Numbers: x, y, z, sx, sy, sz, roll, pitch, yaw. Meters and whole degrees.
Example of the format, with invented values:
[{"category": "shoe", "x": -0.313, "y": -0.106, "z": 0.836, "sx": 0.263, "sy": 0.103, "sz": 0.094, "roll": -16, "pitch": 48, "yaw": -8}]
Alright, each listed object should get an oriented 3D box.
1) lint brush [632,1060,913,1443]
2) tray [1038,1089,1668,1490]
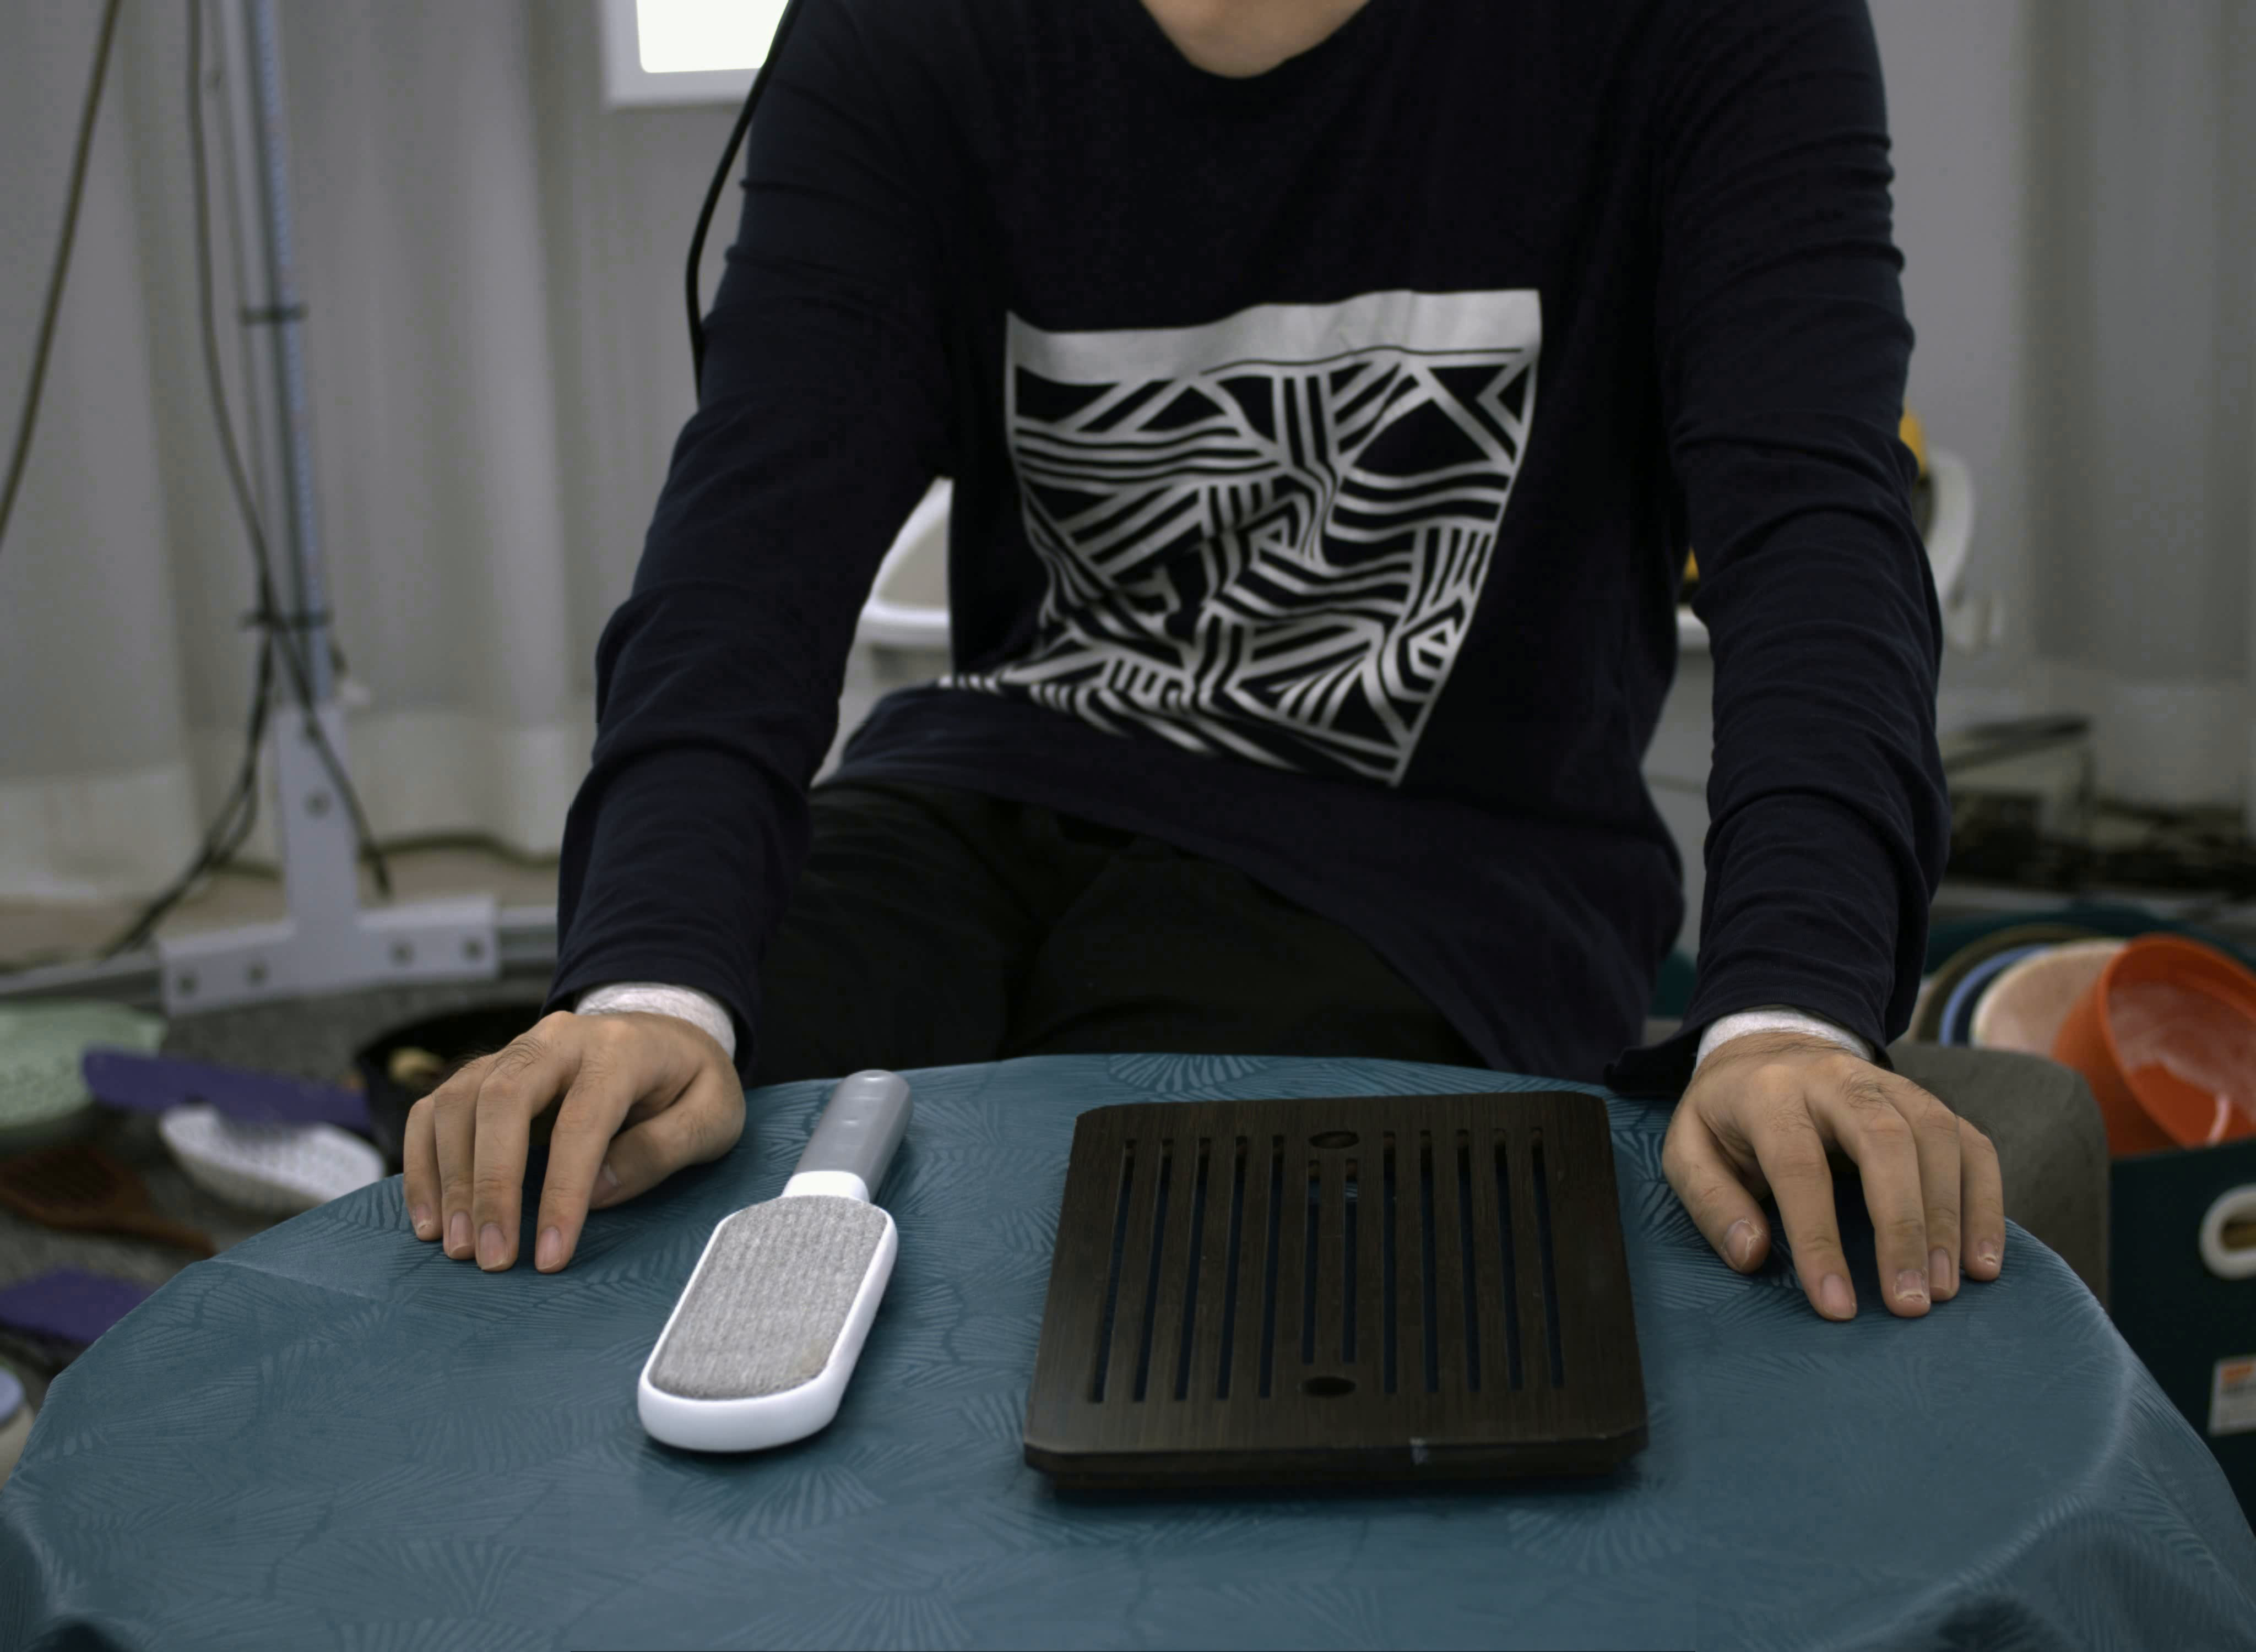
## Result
[{"category": "lint brush", "x": -0.096, "y": 0.124, "z": 1.648, "sx": 0.060, "sy": 0.021, "sz": 0.311, "roll": -6, "pitch": 14, "yaw": 7}, {"category": "tray", "x": 0.065, "y": 0.133, "z": 1.602, "sx": 0.169, "sy": 0.018, "sz": 0.308, "roll": -2, "pitch": 15, "yaw": 3}]
